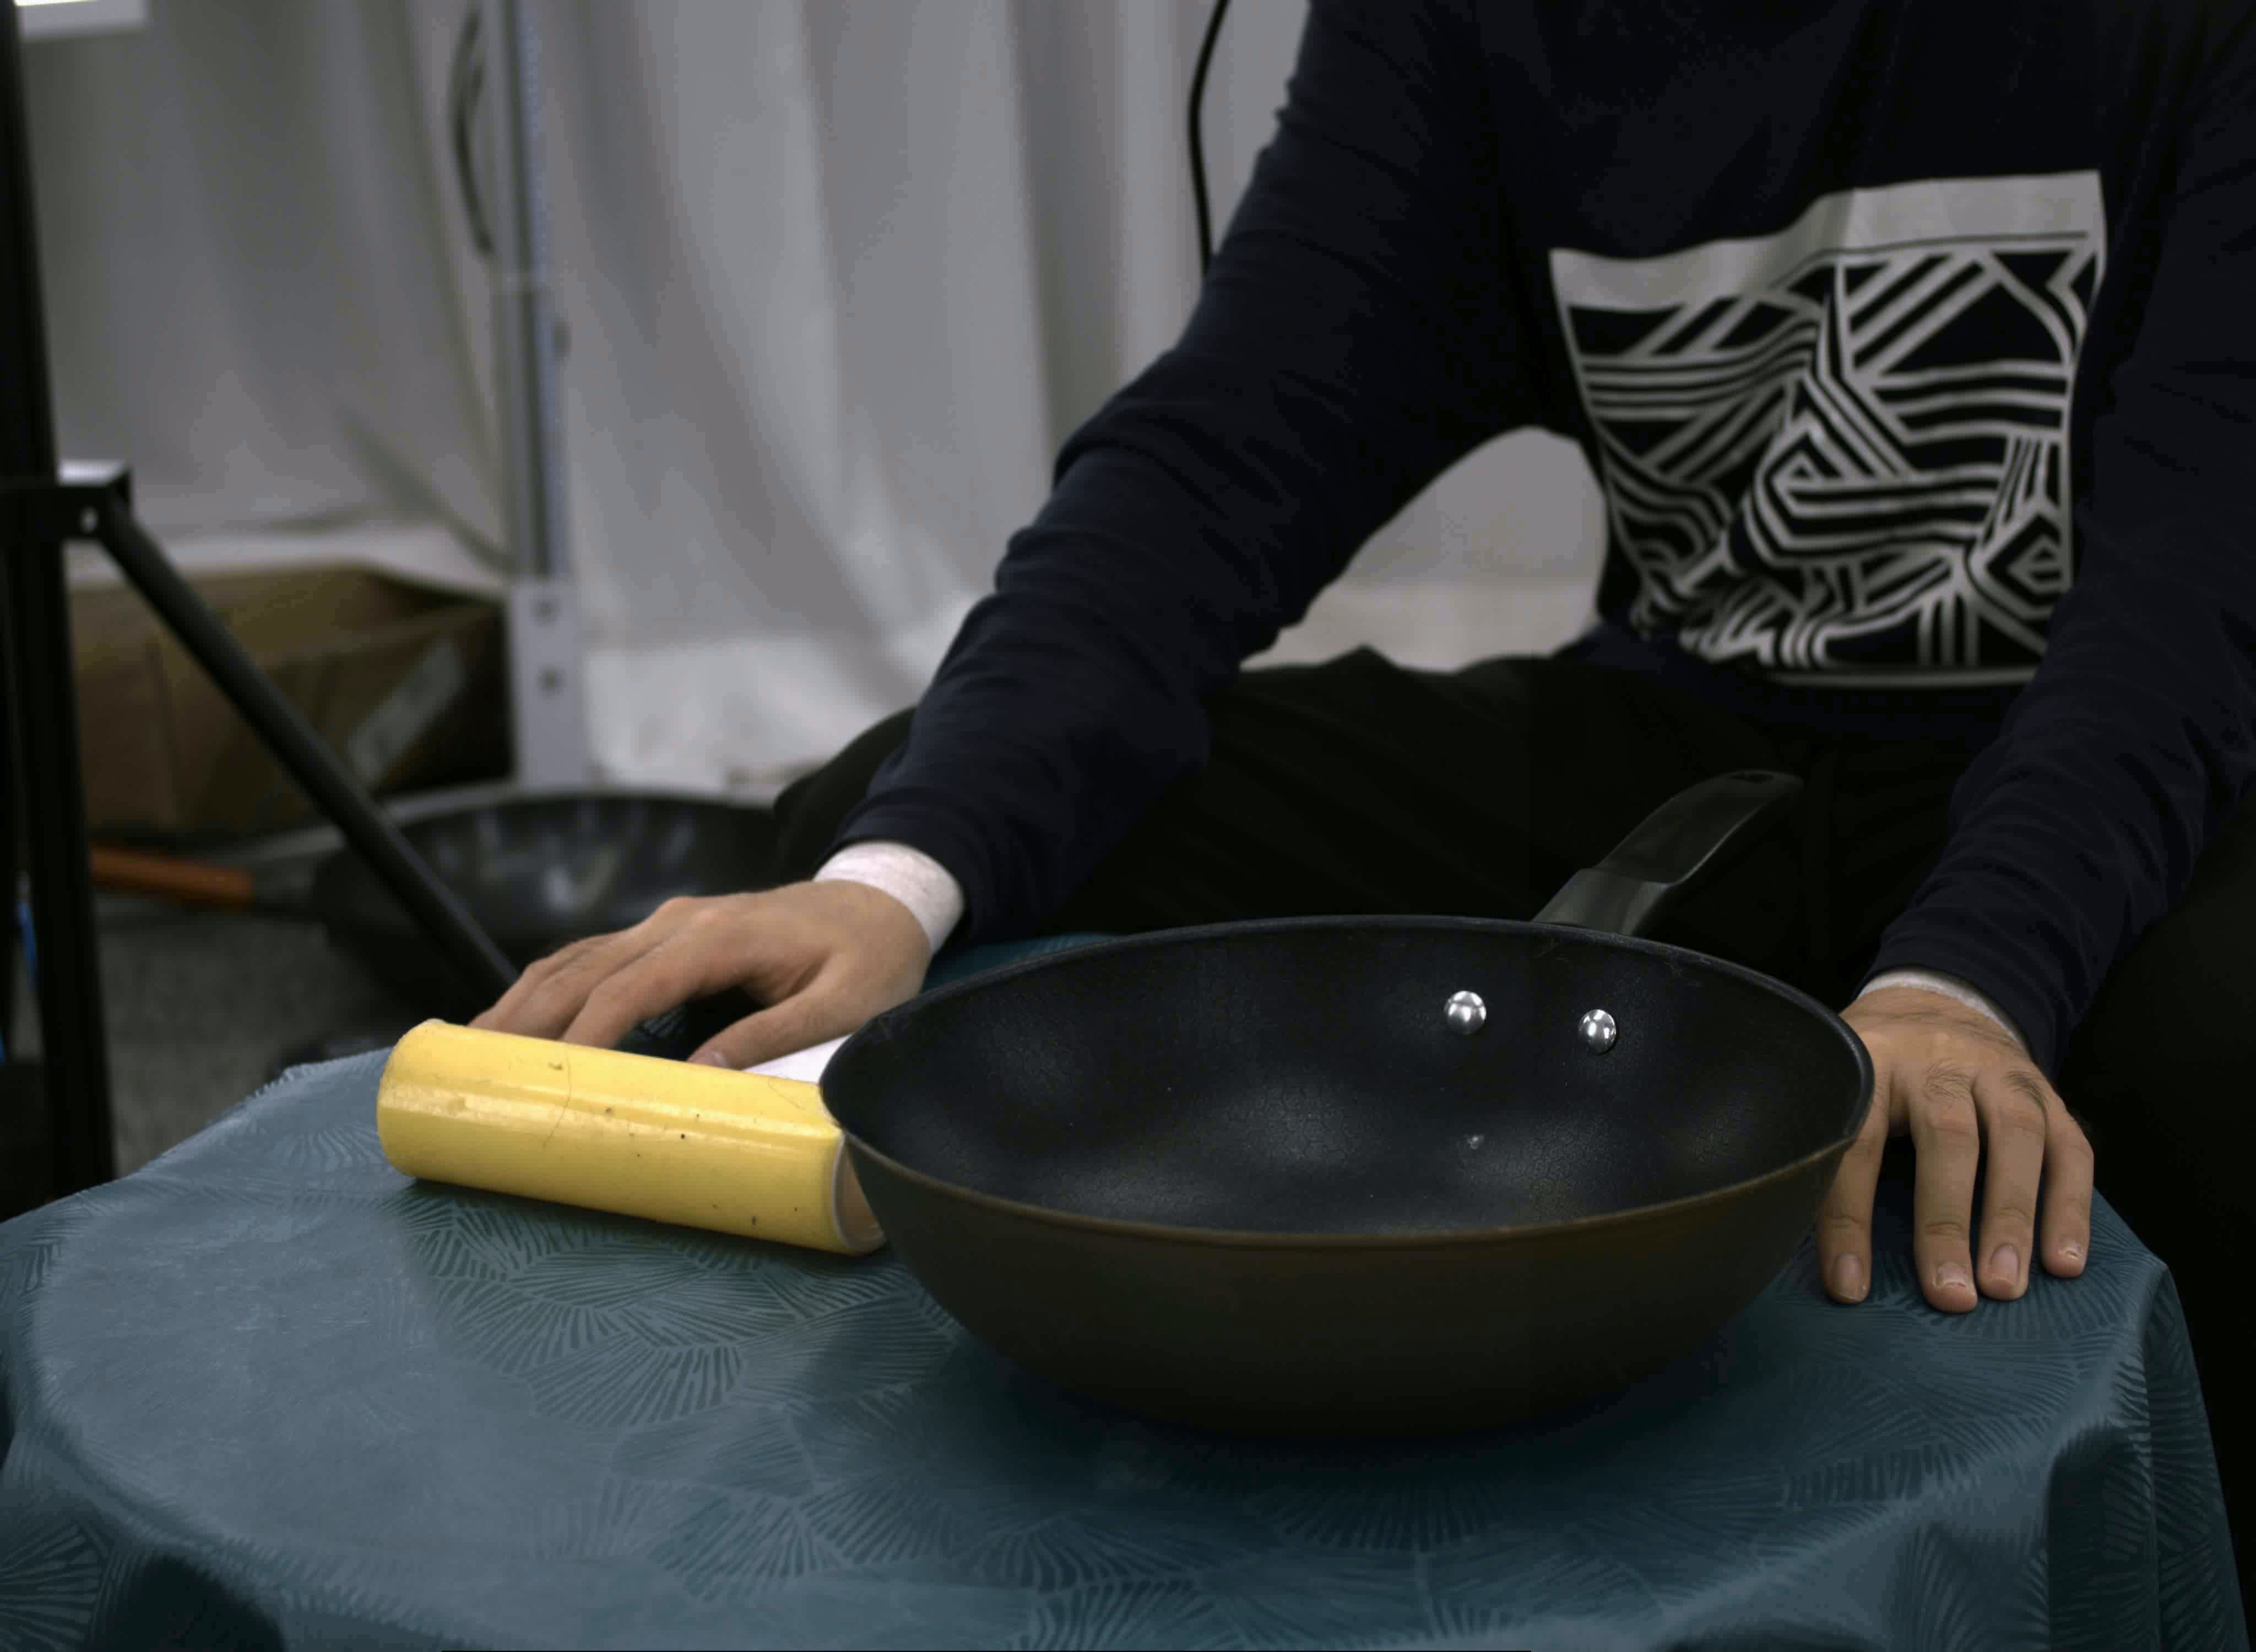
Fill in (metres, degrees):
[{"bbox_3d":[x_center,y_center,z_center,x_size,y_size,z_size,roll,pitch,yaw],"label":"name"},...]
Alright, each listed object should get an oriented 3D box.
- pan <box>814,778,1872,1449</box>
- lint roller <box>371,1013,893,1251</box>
[{"bbox_3d":[0.098,0.078,1.502,0.293,0.087,0.455,7,18,27],"label":"pan"},{"bbox_3d":[-0.109,0.072,1.619,0.177,0.051,0.188,8,19,30],"label":"lint roller"}]
